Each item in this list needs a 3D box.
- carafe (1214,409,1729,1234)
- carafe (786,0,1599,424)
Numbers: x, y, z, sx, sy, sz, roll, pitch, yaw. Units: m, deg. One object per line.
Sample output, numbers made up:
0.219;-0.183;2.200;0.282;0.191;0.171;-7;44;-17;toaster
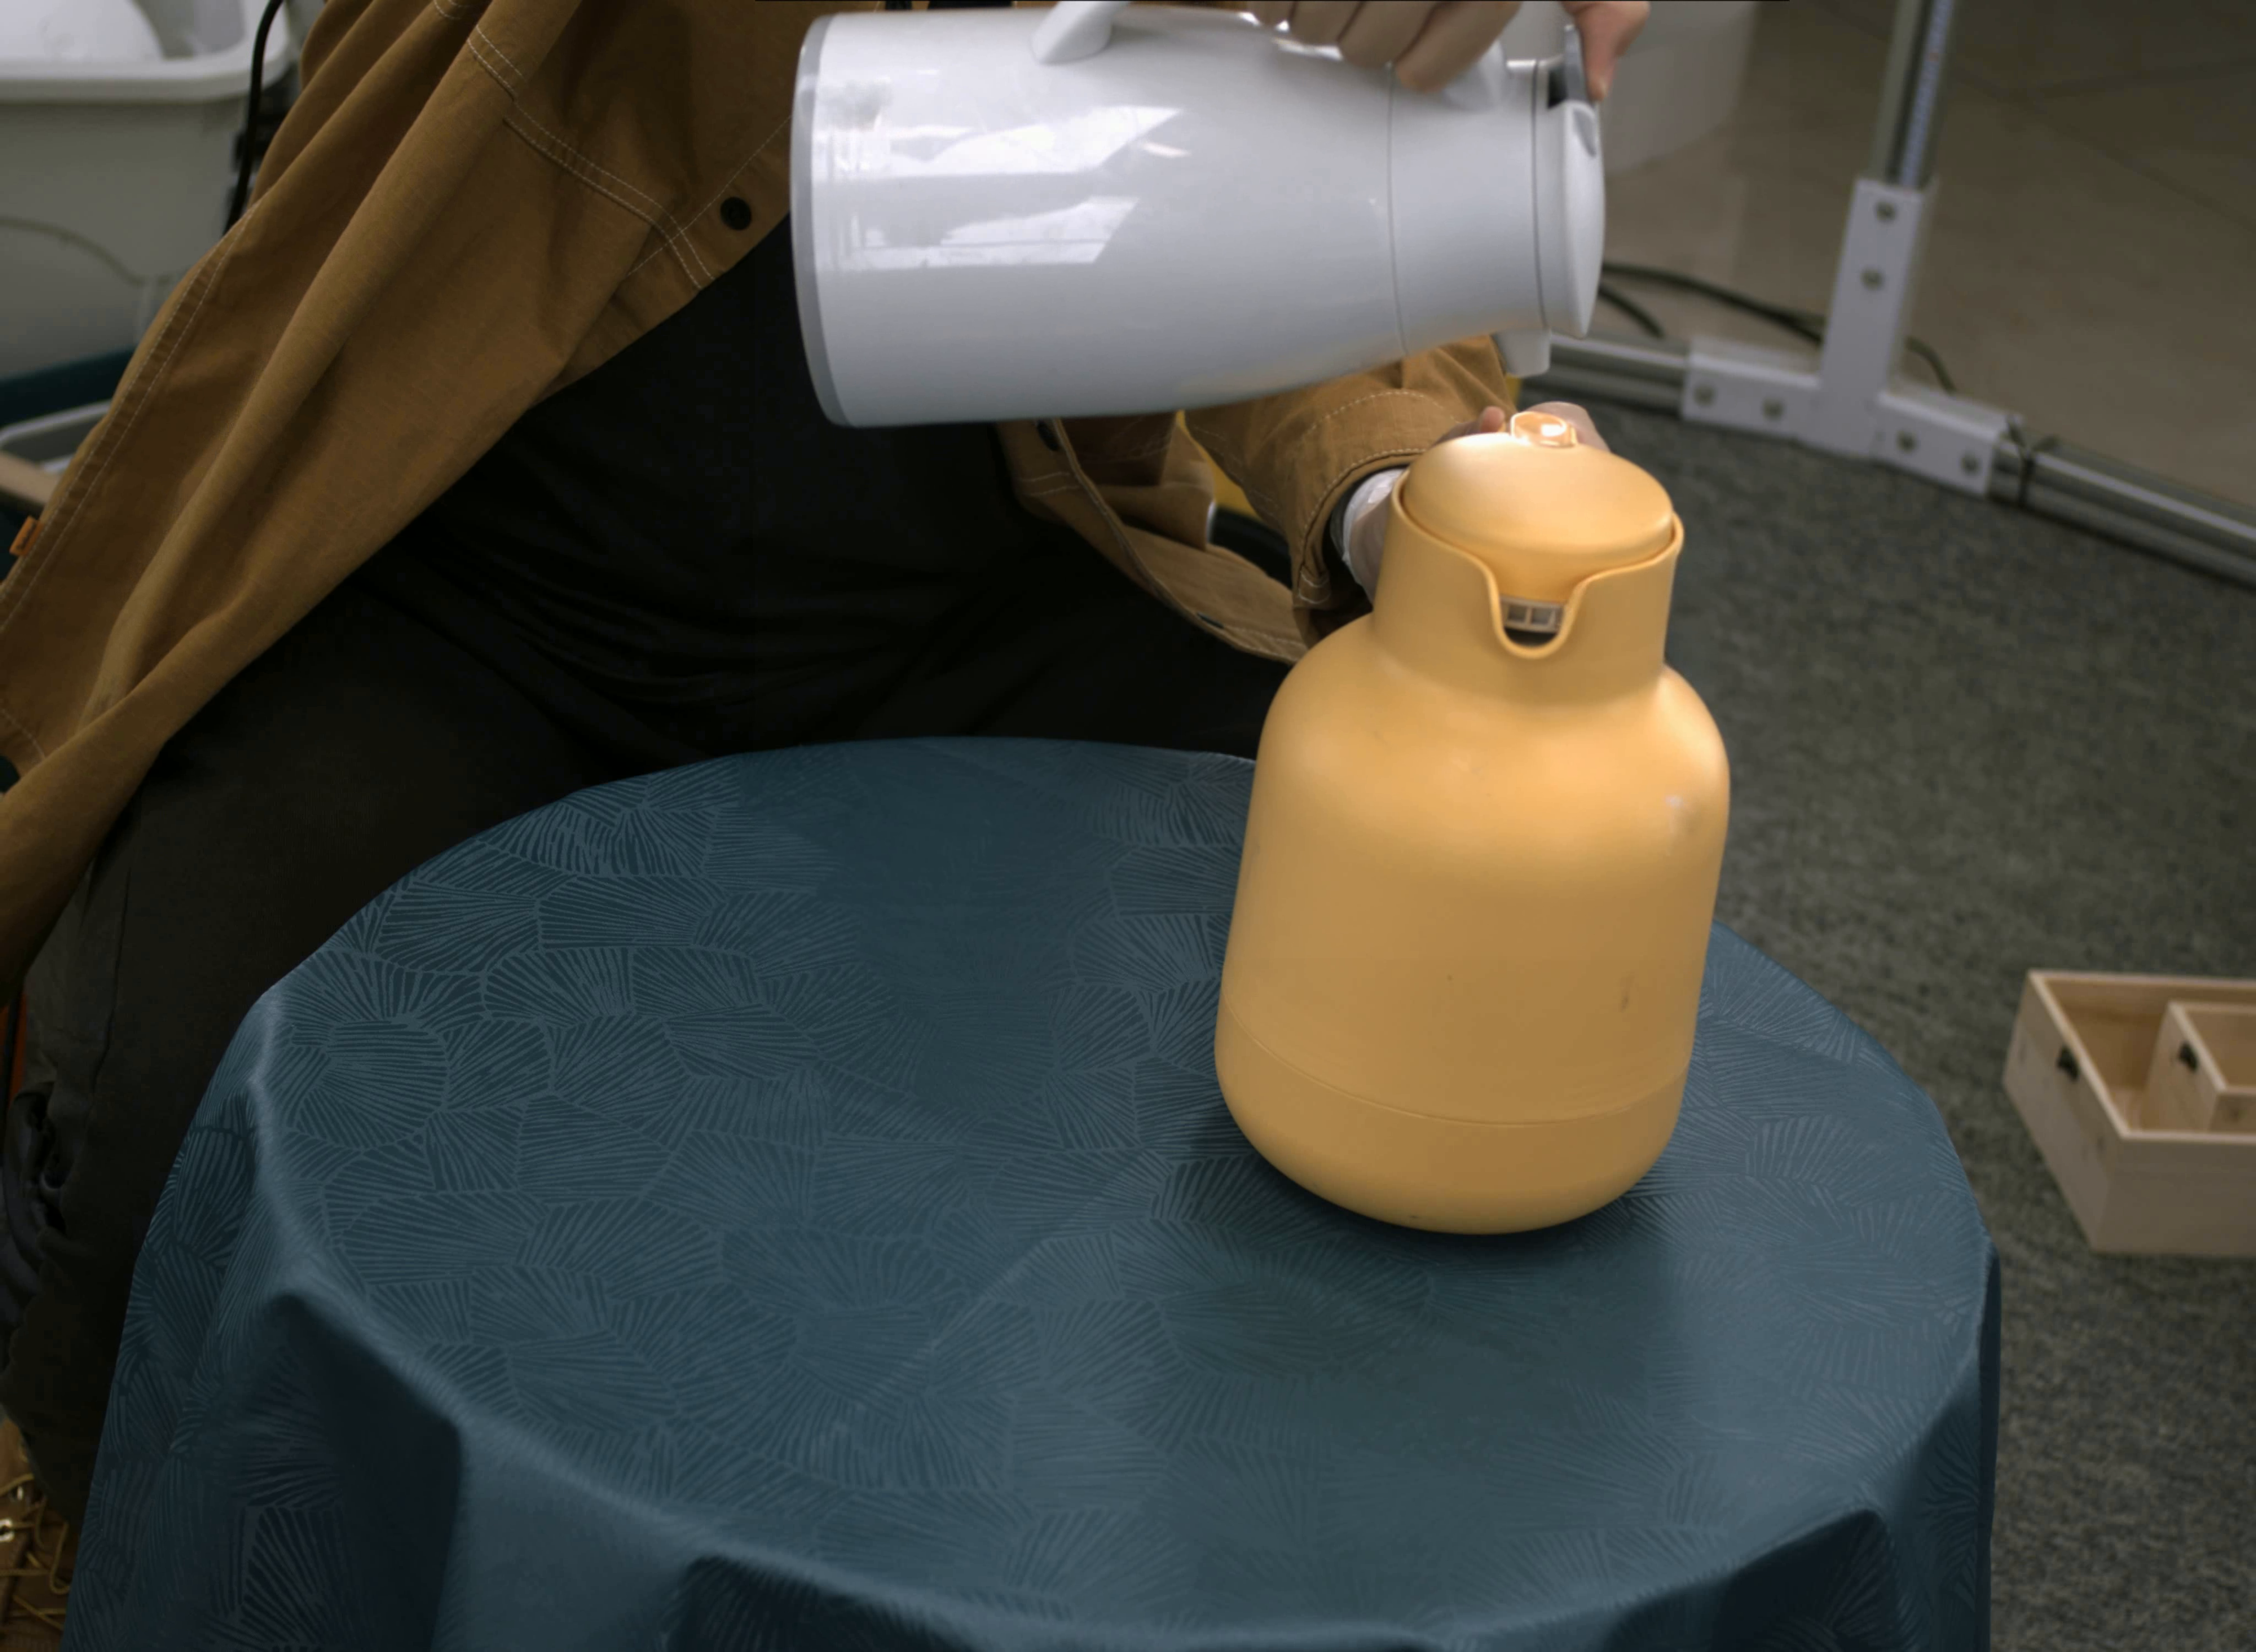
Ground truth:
0.124;-0.011;1.813;0.163;0.259;0.203;10;28;3;carafe
0.022;-0.211;1.676;0.248;0.166;0.133;-1;39;9;carafe
